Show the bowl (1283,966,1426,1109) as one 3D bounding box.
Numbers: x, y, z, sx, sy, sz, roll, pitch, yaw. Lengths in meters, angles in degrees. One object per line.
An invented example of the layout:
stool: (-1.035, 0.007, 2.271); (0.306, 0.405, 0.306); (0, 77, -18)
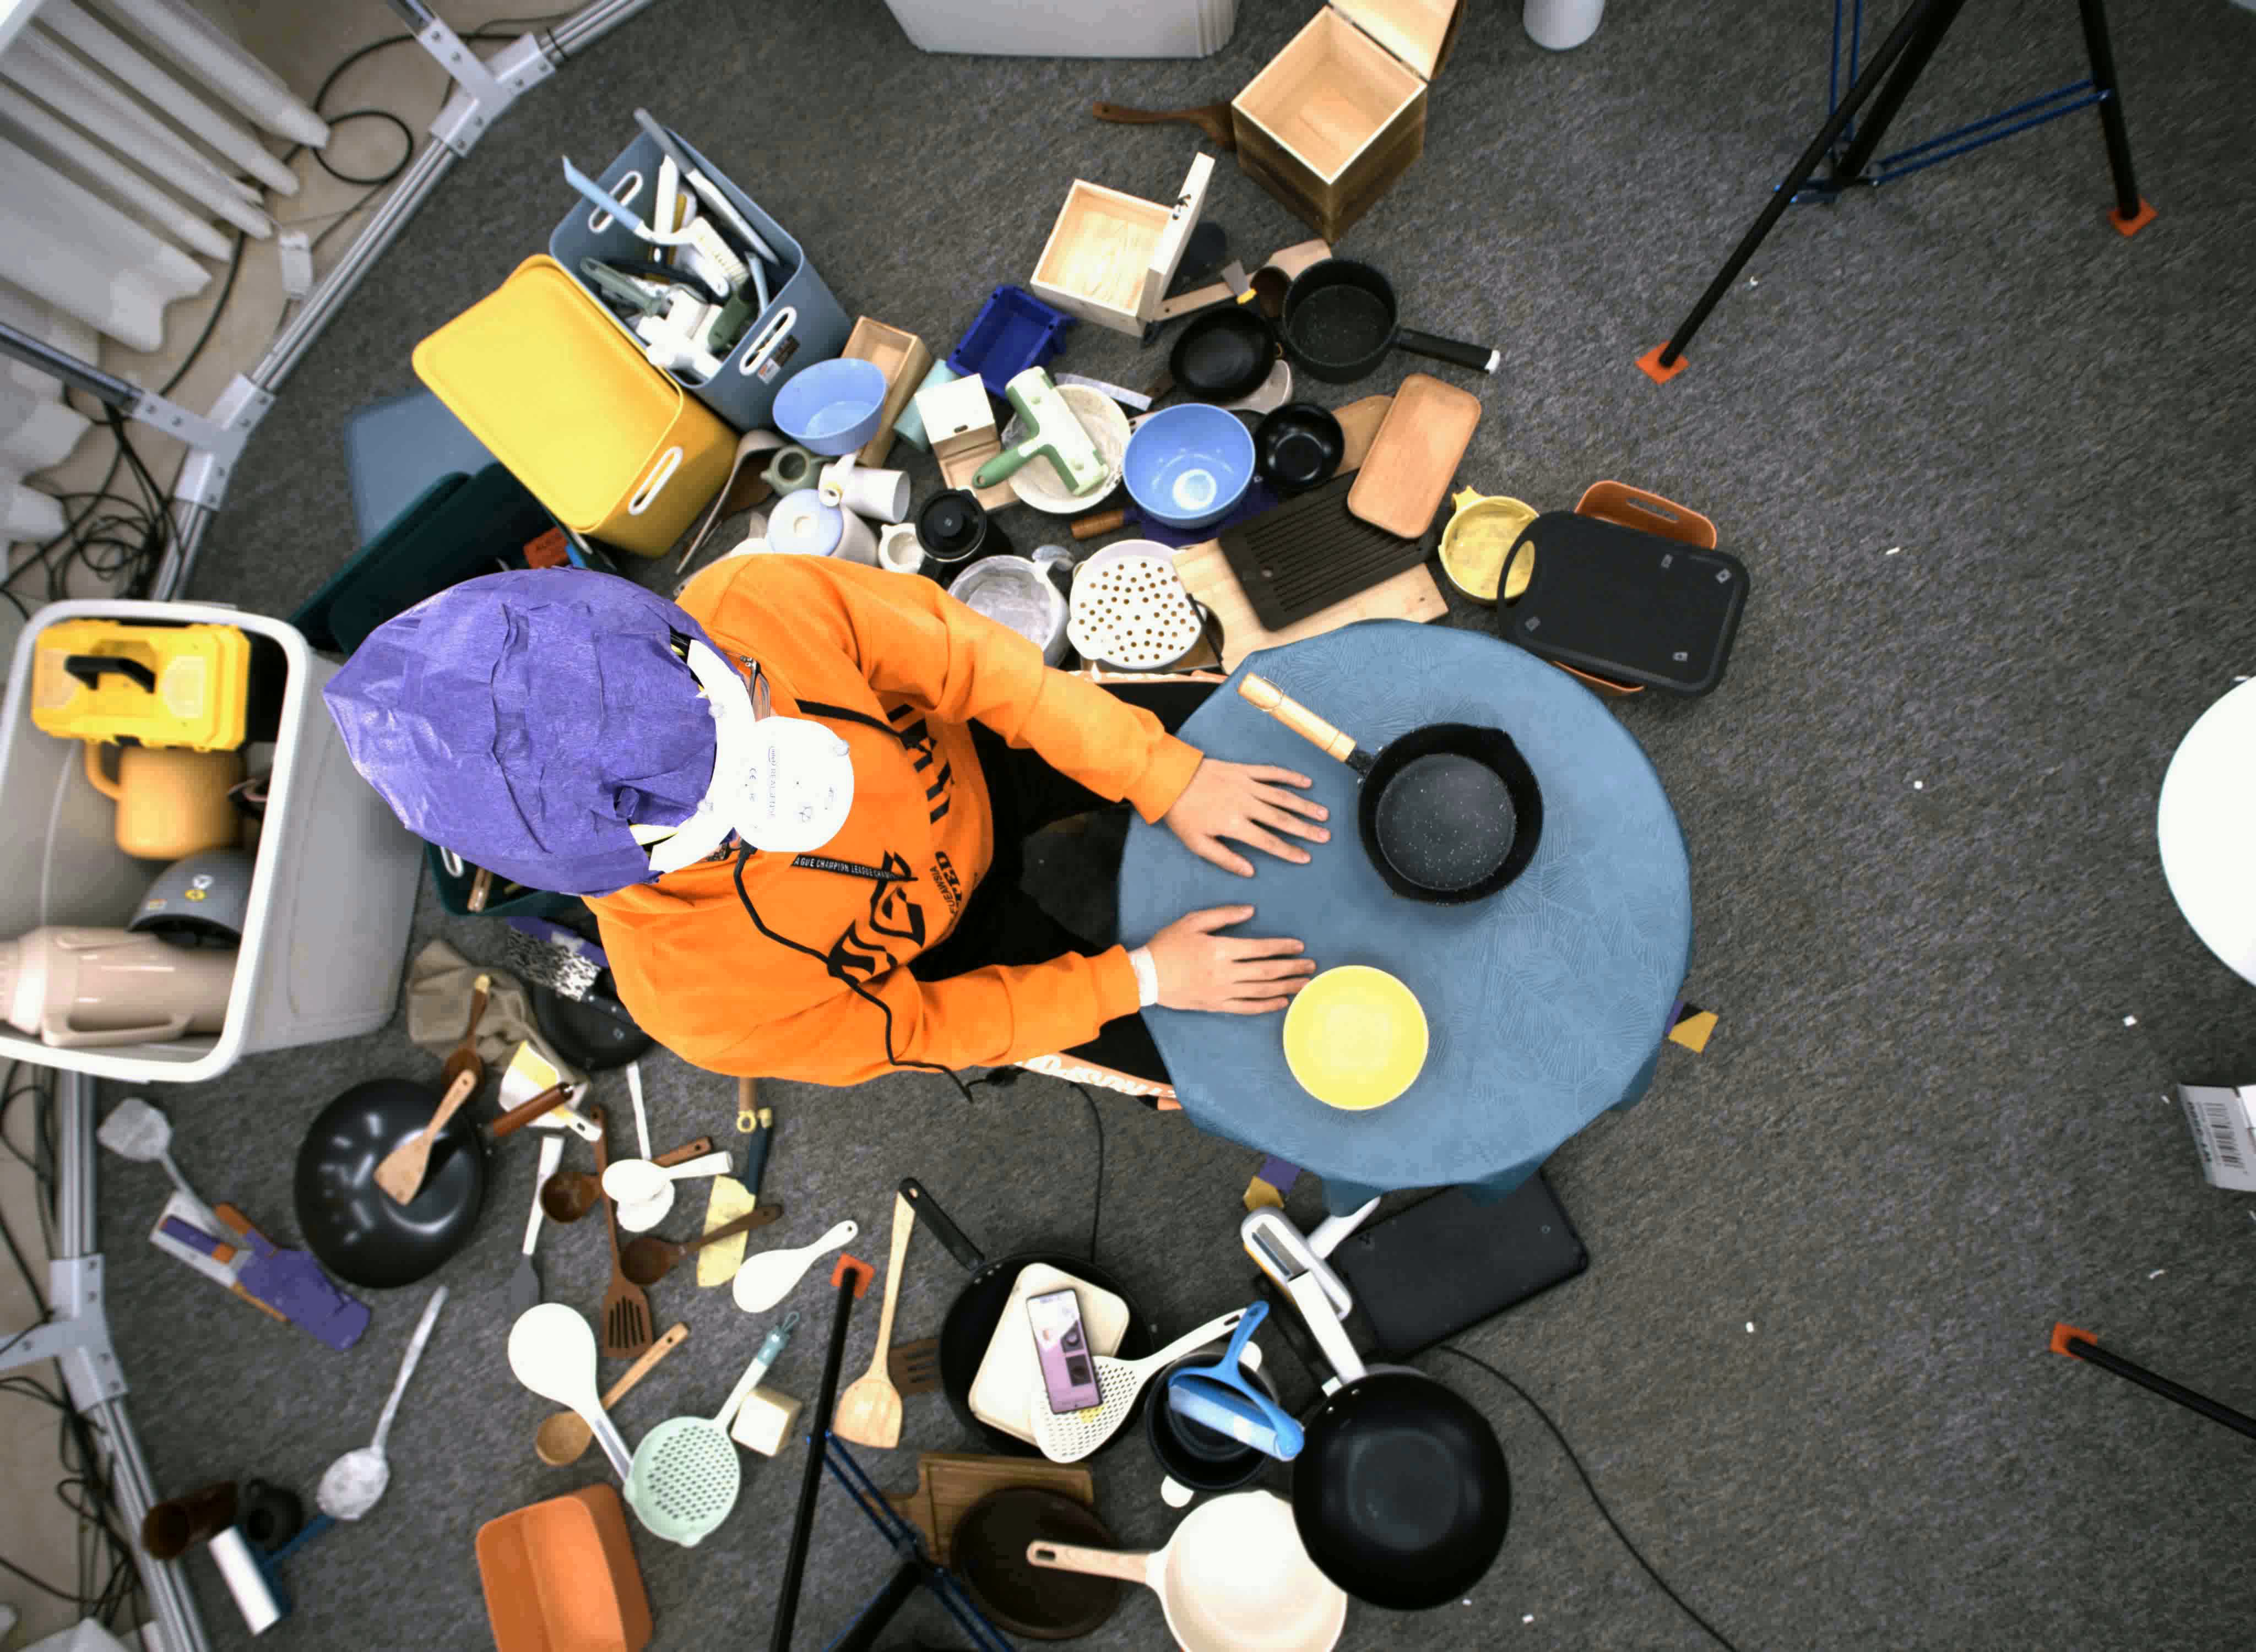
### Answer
bowl: (0.233, 0.216, 1.429); (0.146, 0.060, 0.144); (-1, 85, 10)

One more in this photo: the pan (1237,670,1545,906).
pan: (0.260, -0.053, 1.414); (0.342, 0.108, 0.208); (33, 94, 9)
